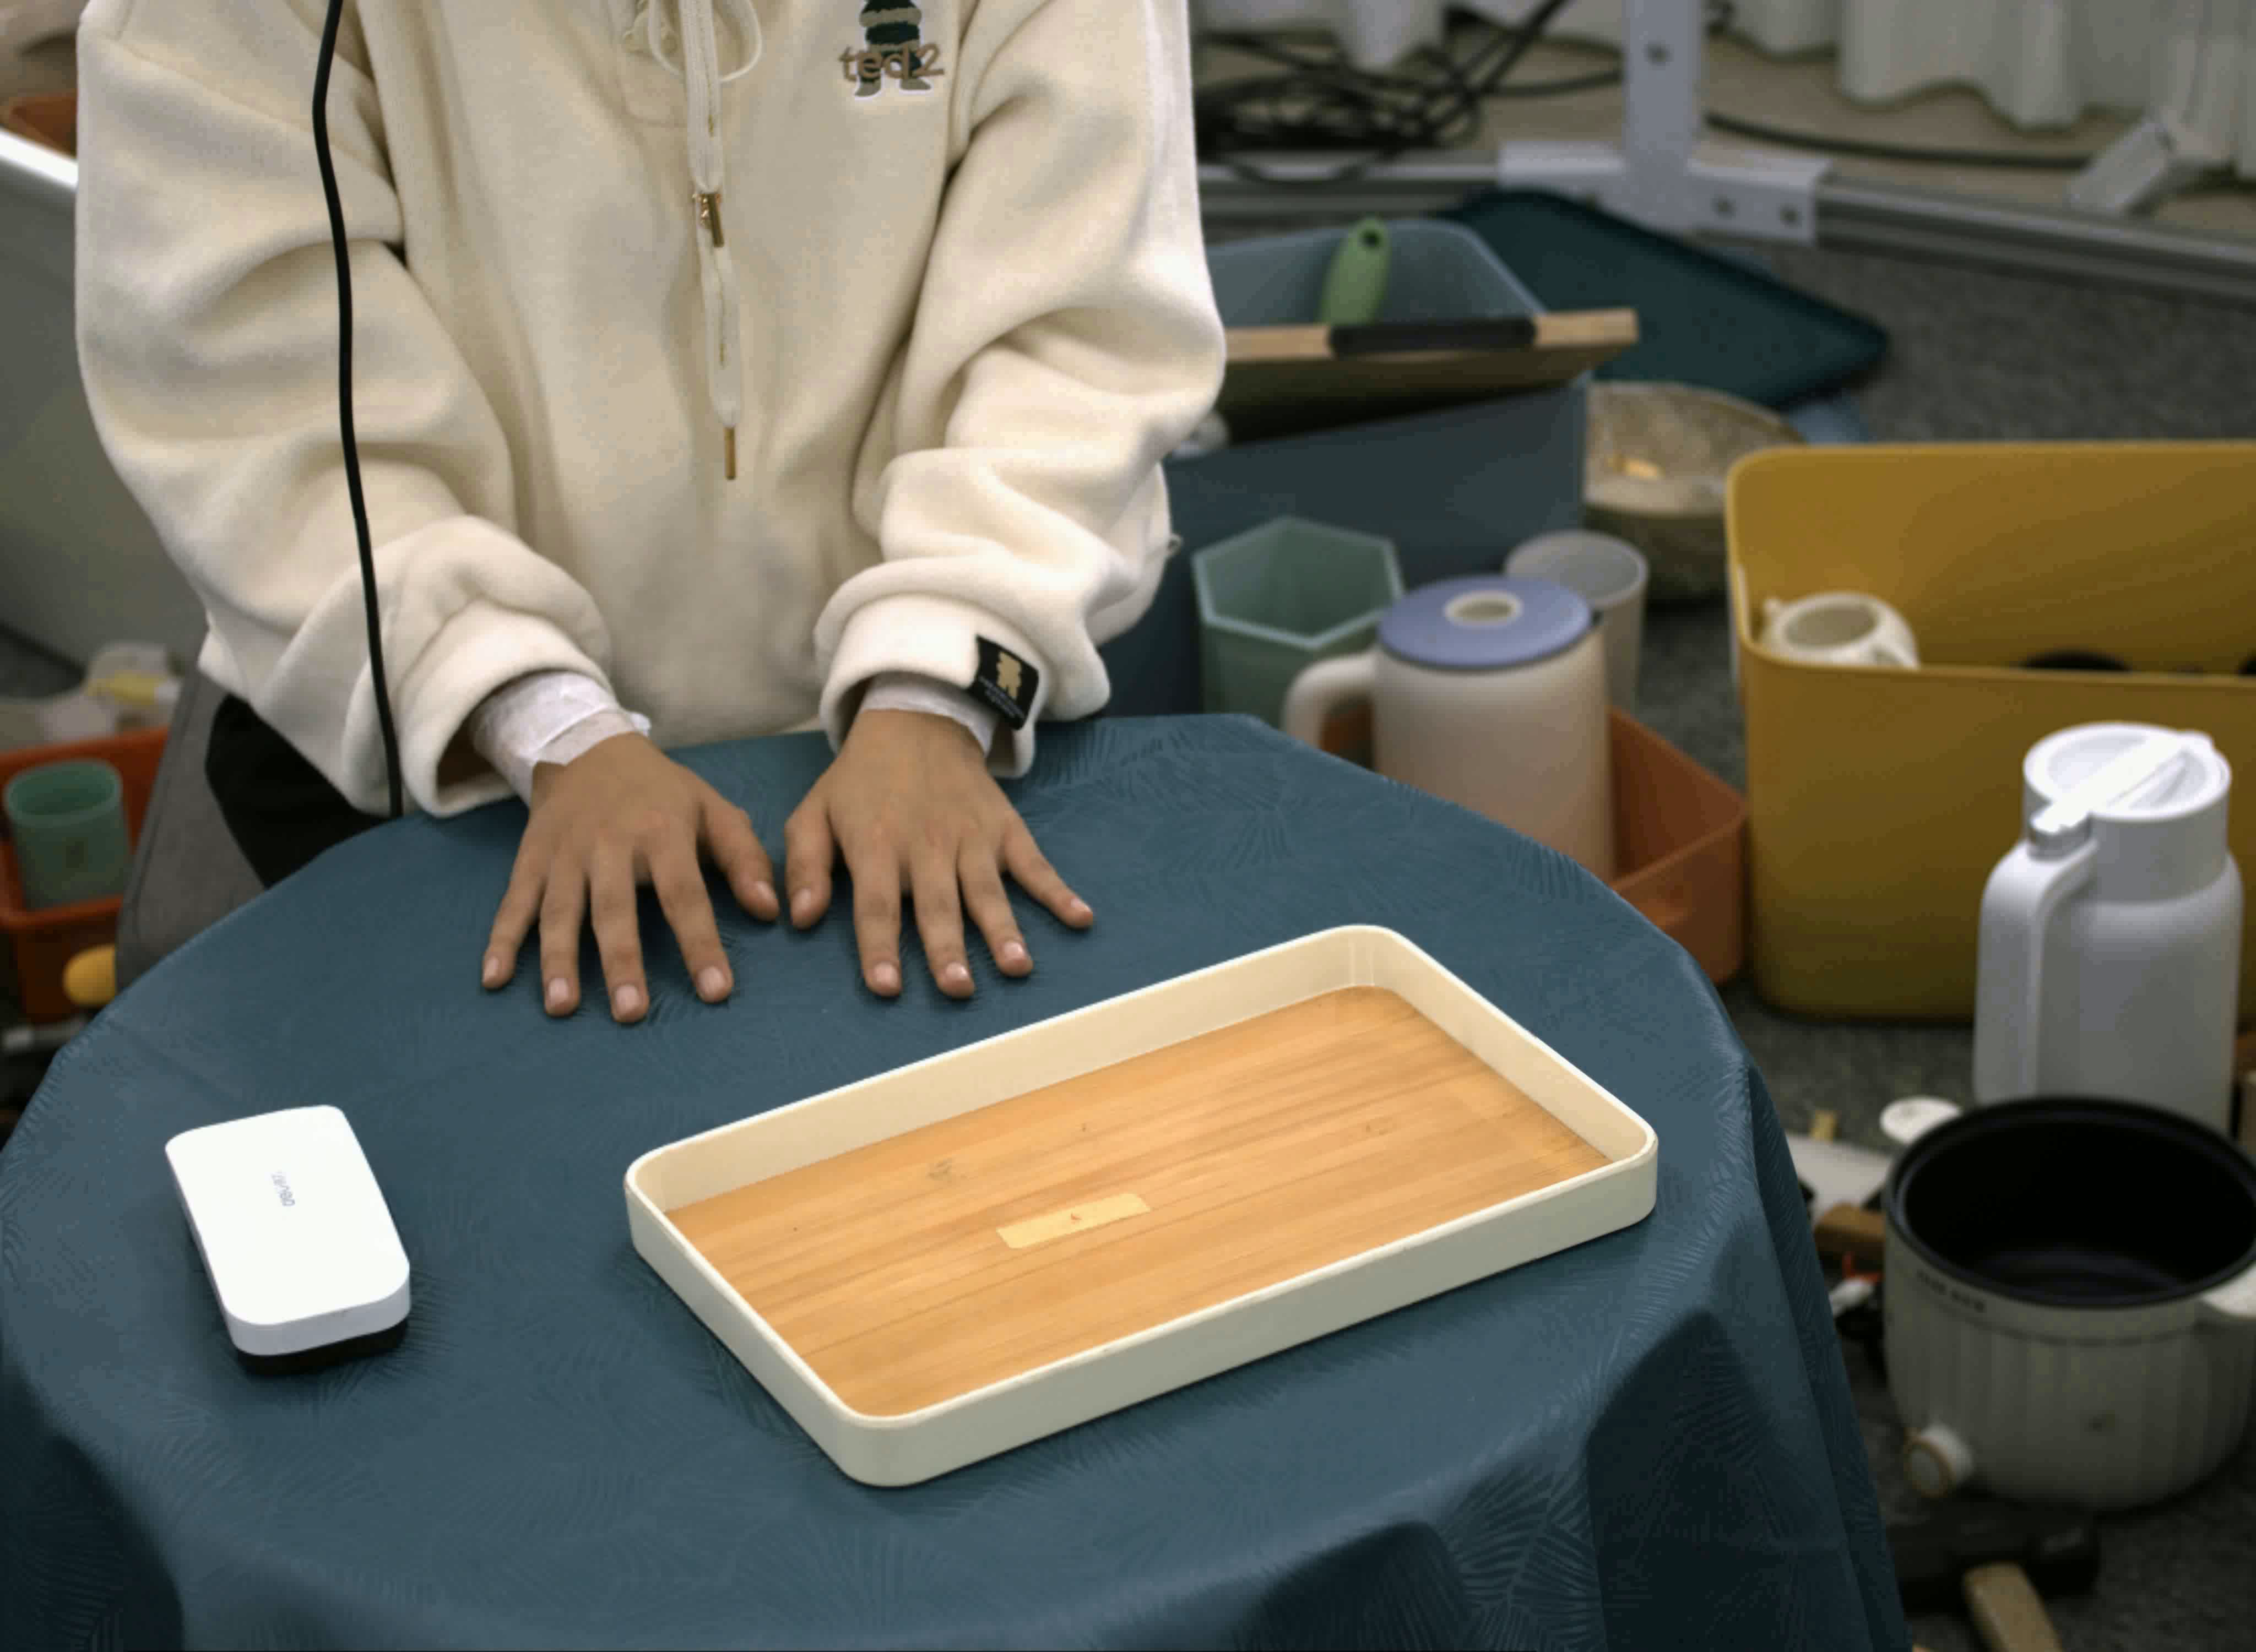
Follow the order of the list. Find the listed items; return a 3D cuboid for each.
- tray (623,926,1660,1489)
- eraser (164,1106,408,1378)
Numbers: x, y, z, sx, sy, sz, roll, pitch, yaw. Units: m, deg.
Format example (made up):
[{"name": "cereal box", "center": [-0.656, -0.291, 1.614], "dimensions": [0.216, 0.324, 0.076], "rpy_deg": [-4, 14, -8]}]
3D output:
[{"name": "tray", "center": [0.004, 0.120, 1.836], "dimensions": [0.302, 0.027, 0.192], "rpy_deg": [-17, 31, -25]}, {"name": "eraser", "center": [-0.274, 0.132, 1.835], "dimensions": [0.063, 0.034, 0.132], "rpy_deg": [-10, 29, -15]}]
